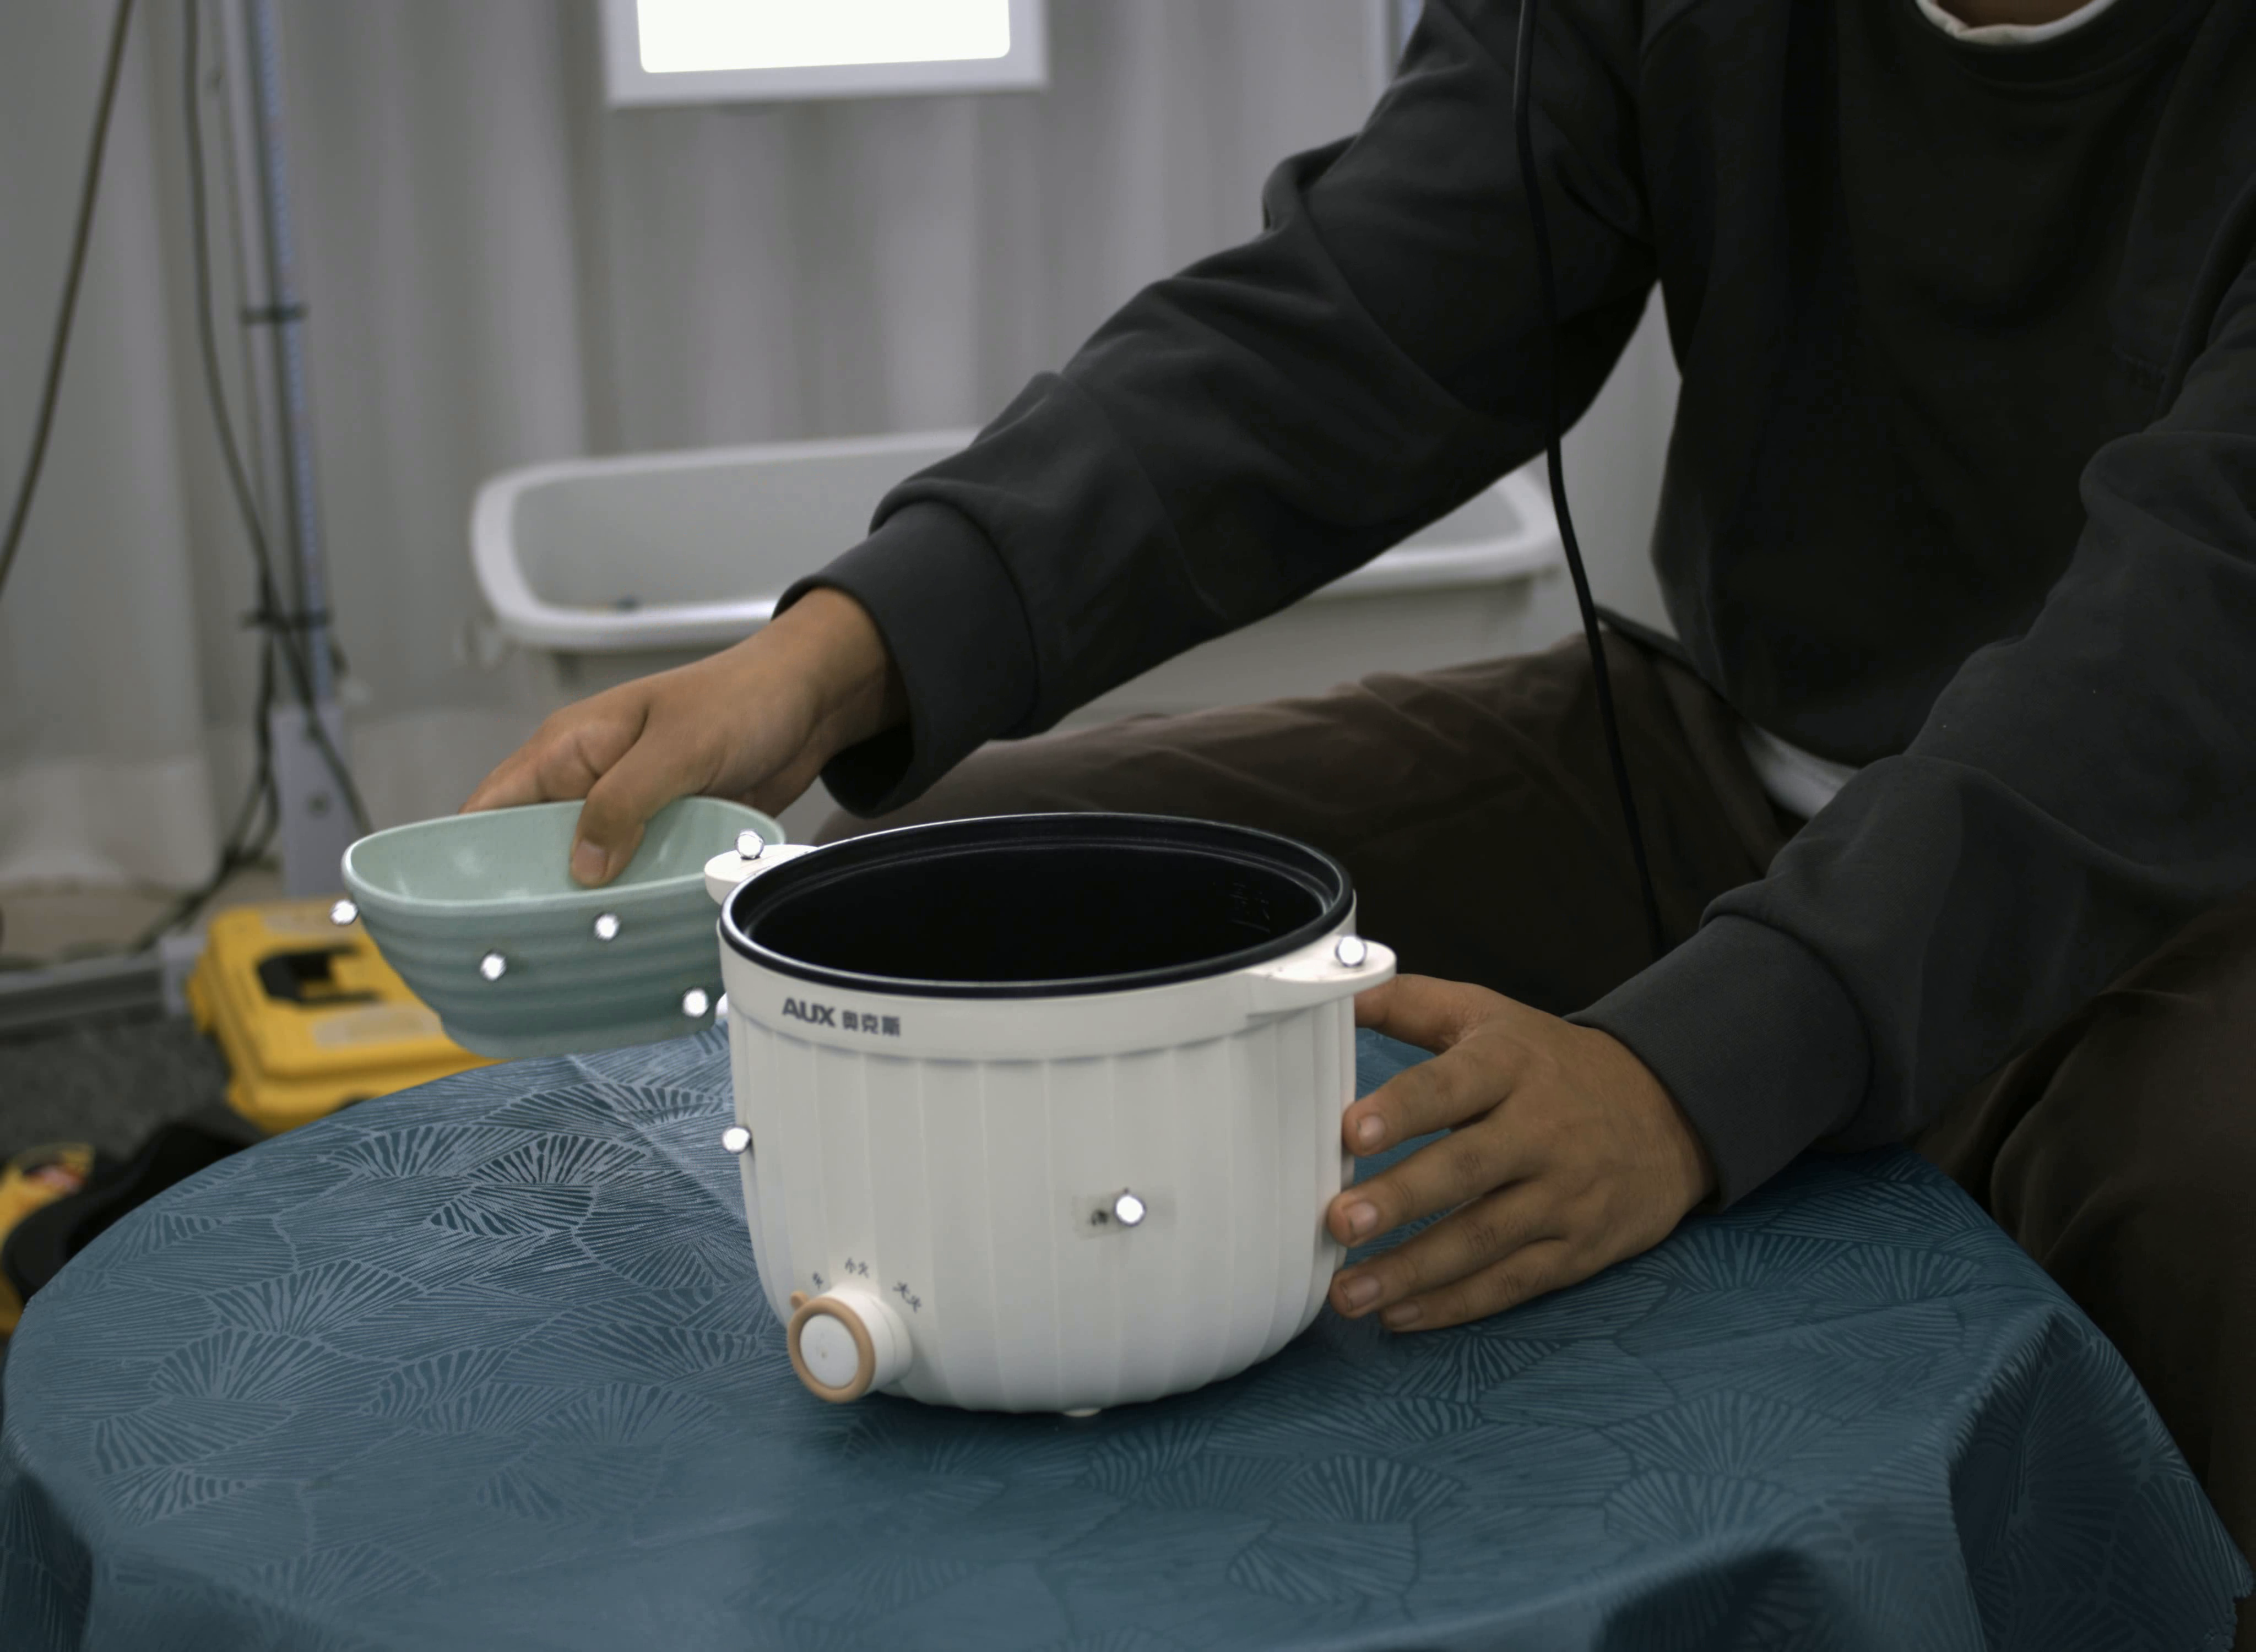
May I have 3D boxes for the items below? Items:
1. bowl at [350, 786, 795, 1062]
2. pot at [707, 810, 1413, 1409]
[{"bbox_3d":[-0.175,0.034,1.744,0.151,0.058,0.152,-4,14,1],"label":"bowl"},{"bbox_3d":[-0.023,0.084,1.566,0.241,0.142,0.190,6,14,36],"label":"pot"}]
